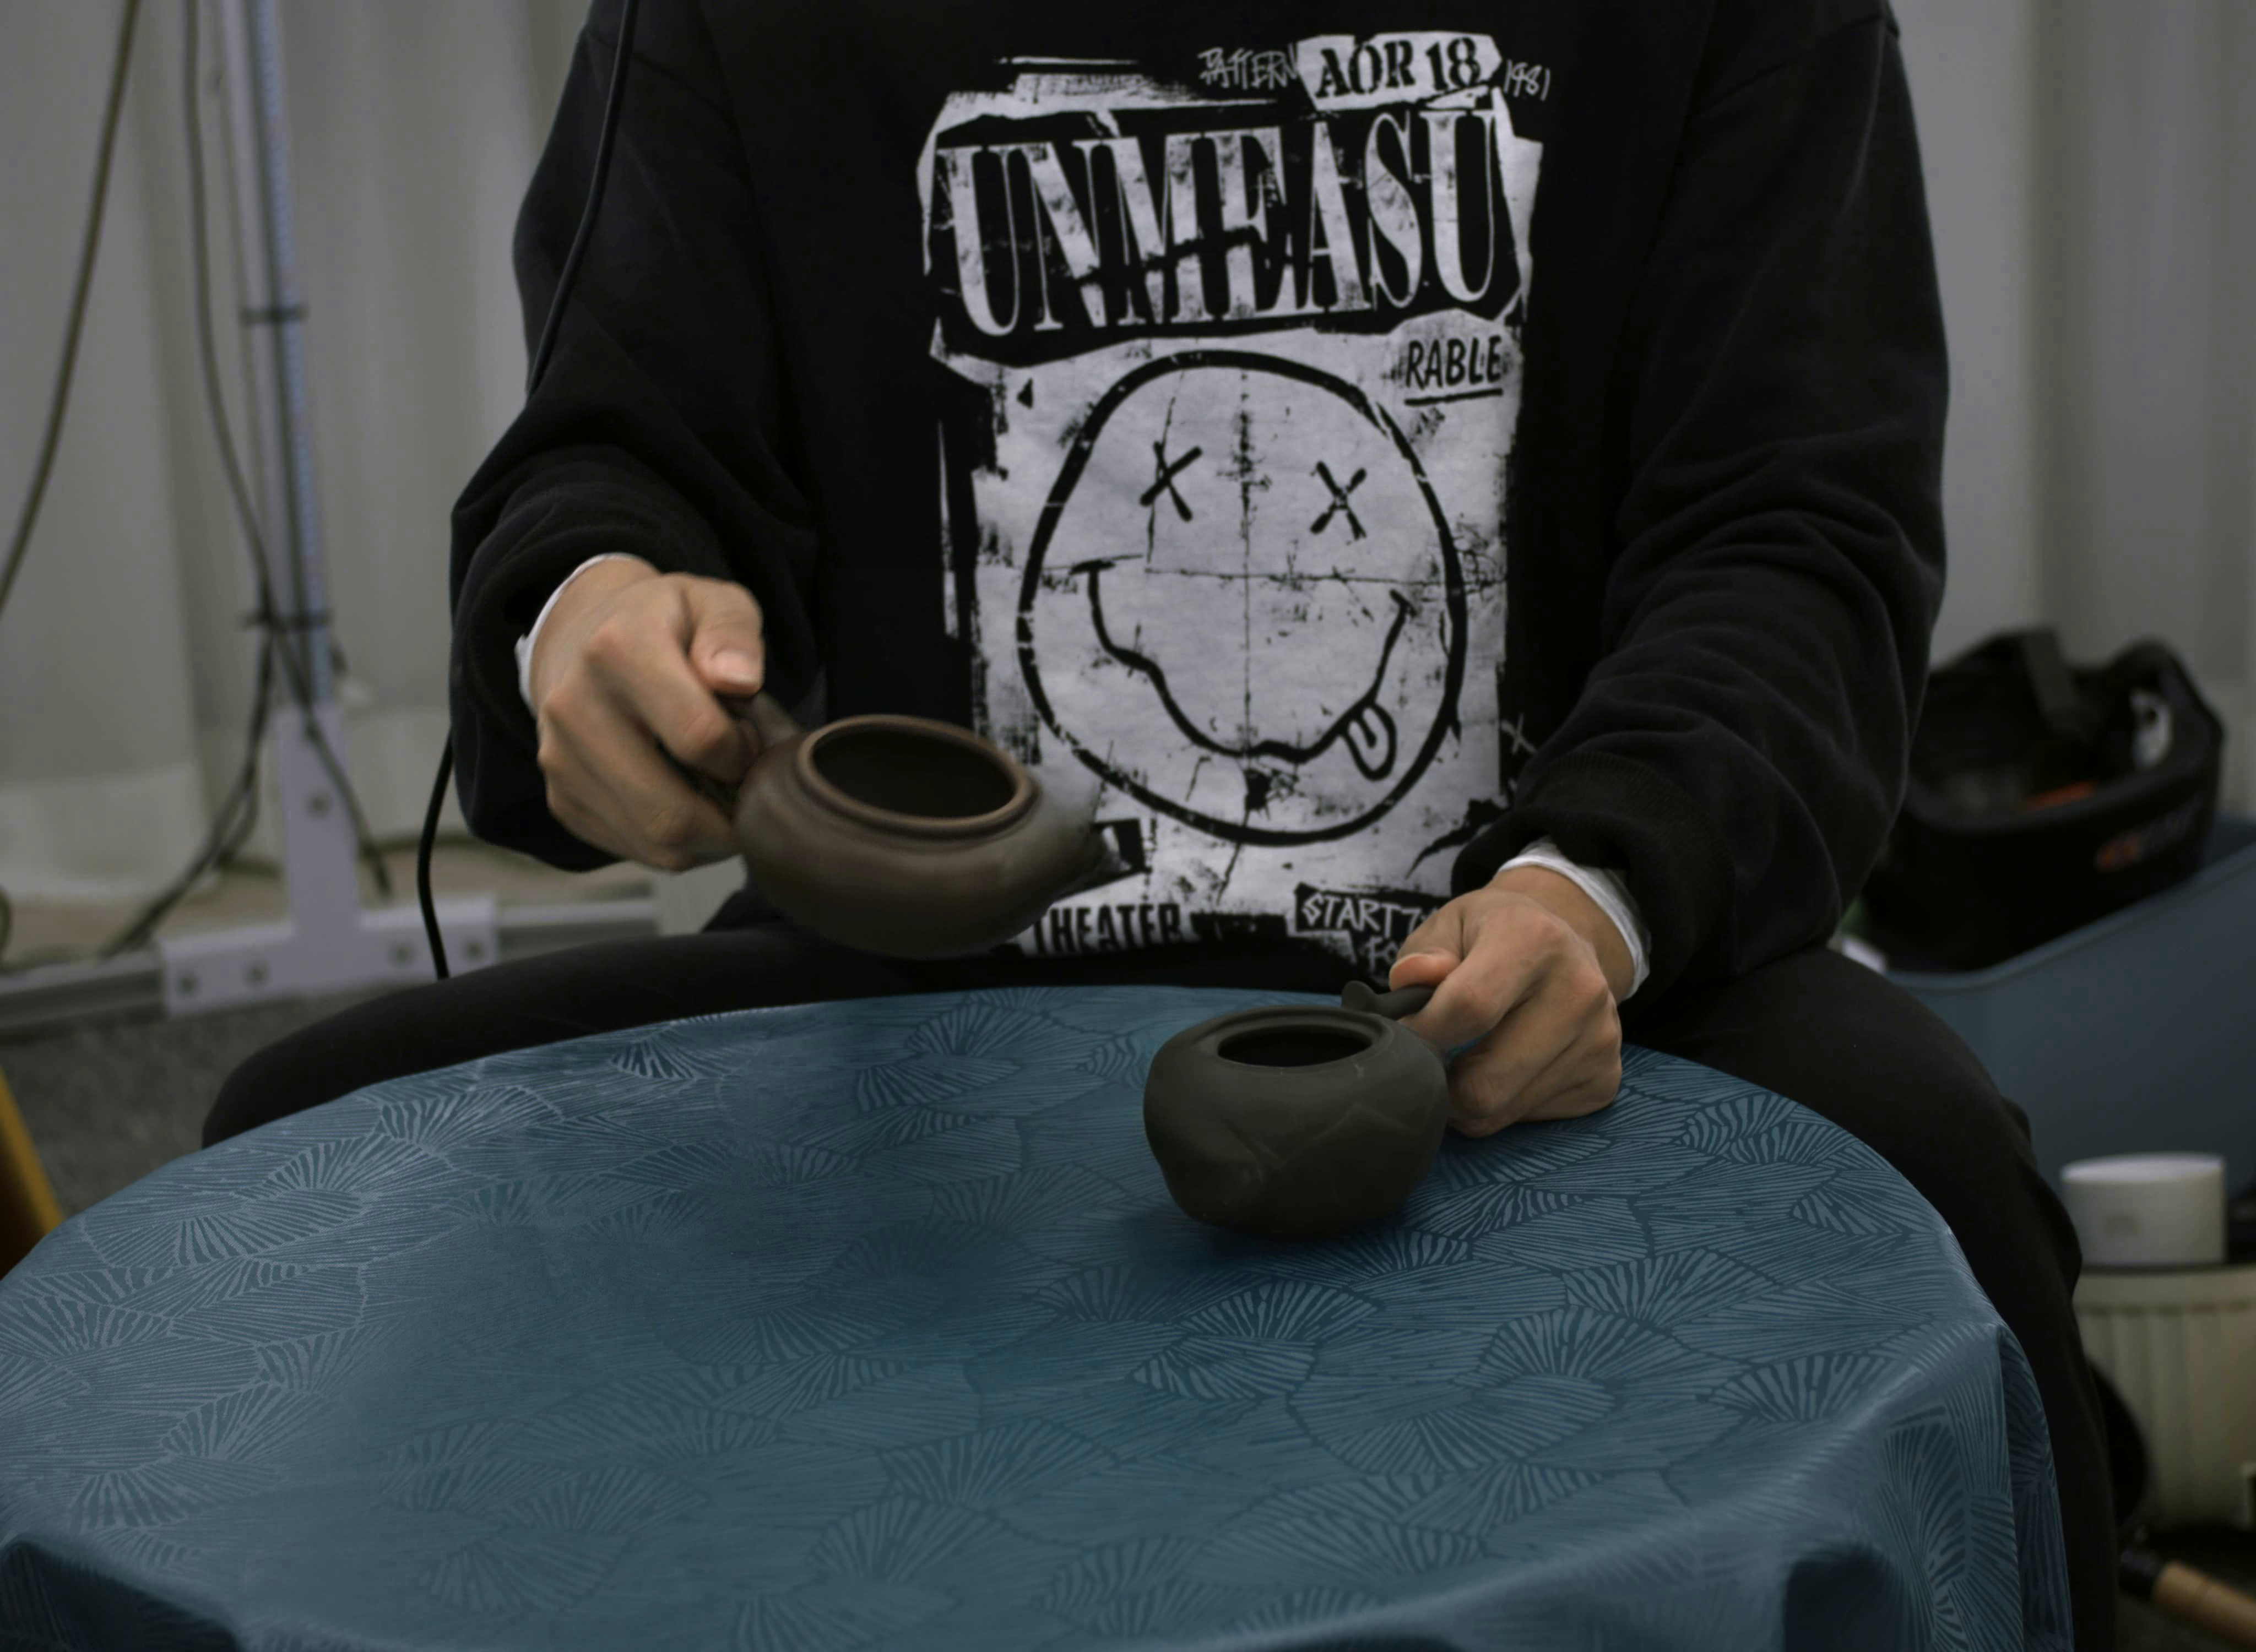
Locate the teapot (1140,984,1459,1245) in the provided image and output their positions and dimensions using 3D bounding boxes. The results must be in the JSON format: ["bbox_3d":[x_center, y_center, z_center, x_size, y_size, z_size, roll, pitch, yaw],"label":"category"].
[{"bbox_3d":[0.053,0.089,1.674,0.093,0.064,0.154,14,25,37],"label":"teapot"}]

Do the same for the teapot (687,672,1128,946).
[{"bbox_3d":[-0.070,-0.003,1.665,0.154,0.053,0.103,23,26,20],"label":"teapot"}]
